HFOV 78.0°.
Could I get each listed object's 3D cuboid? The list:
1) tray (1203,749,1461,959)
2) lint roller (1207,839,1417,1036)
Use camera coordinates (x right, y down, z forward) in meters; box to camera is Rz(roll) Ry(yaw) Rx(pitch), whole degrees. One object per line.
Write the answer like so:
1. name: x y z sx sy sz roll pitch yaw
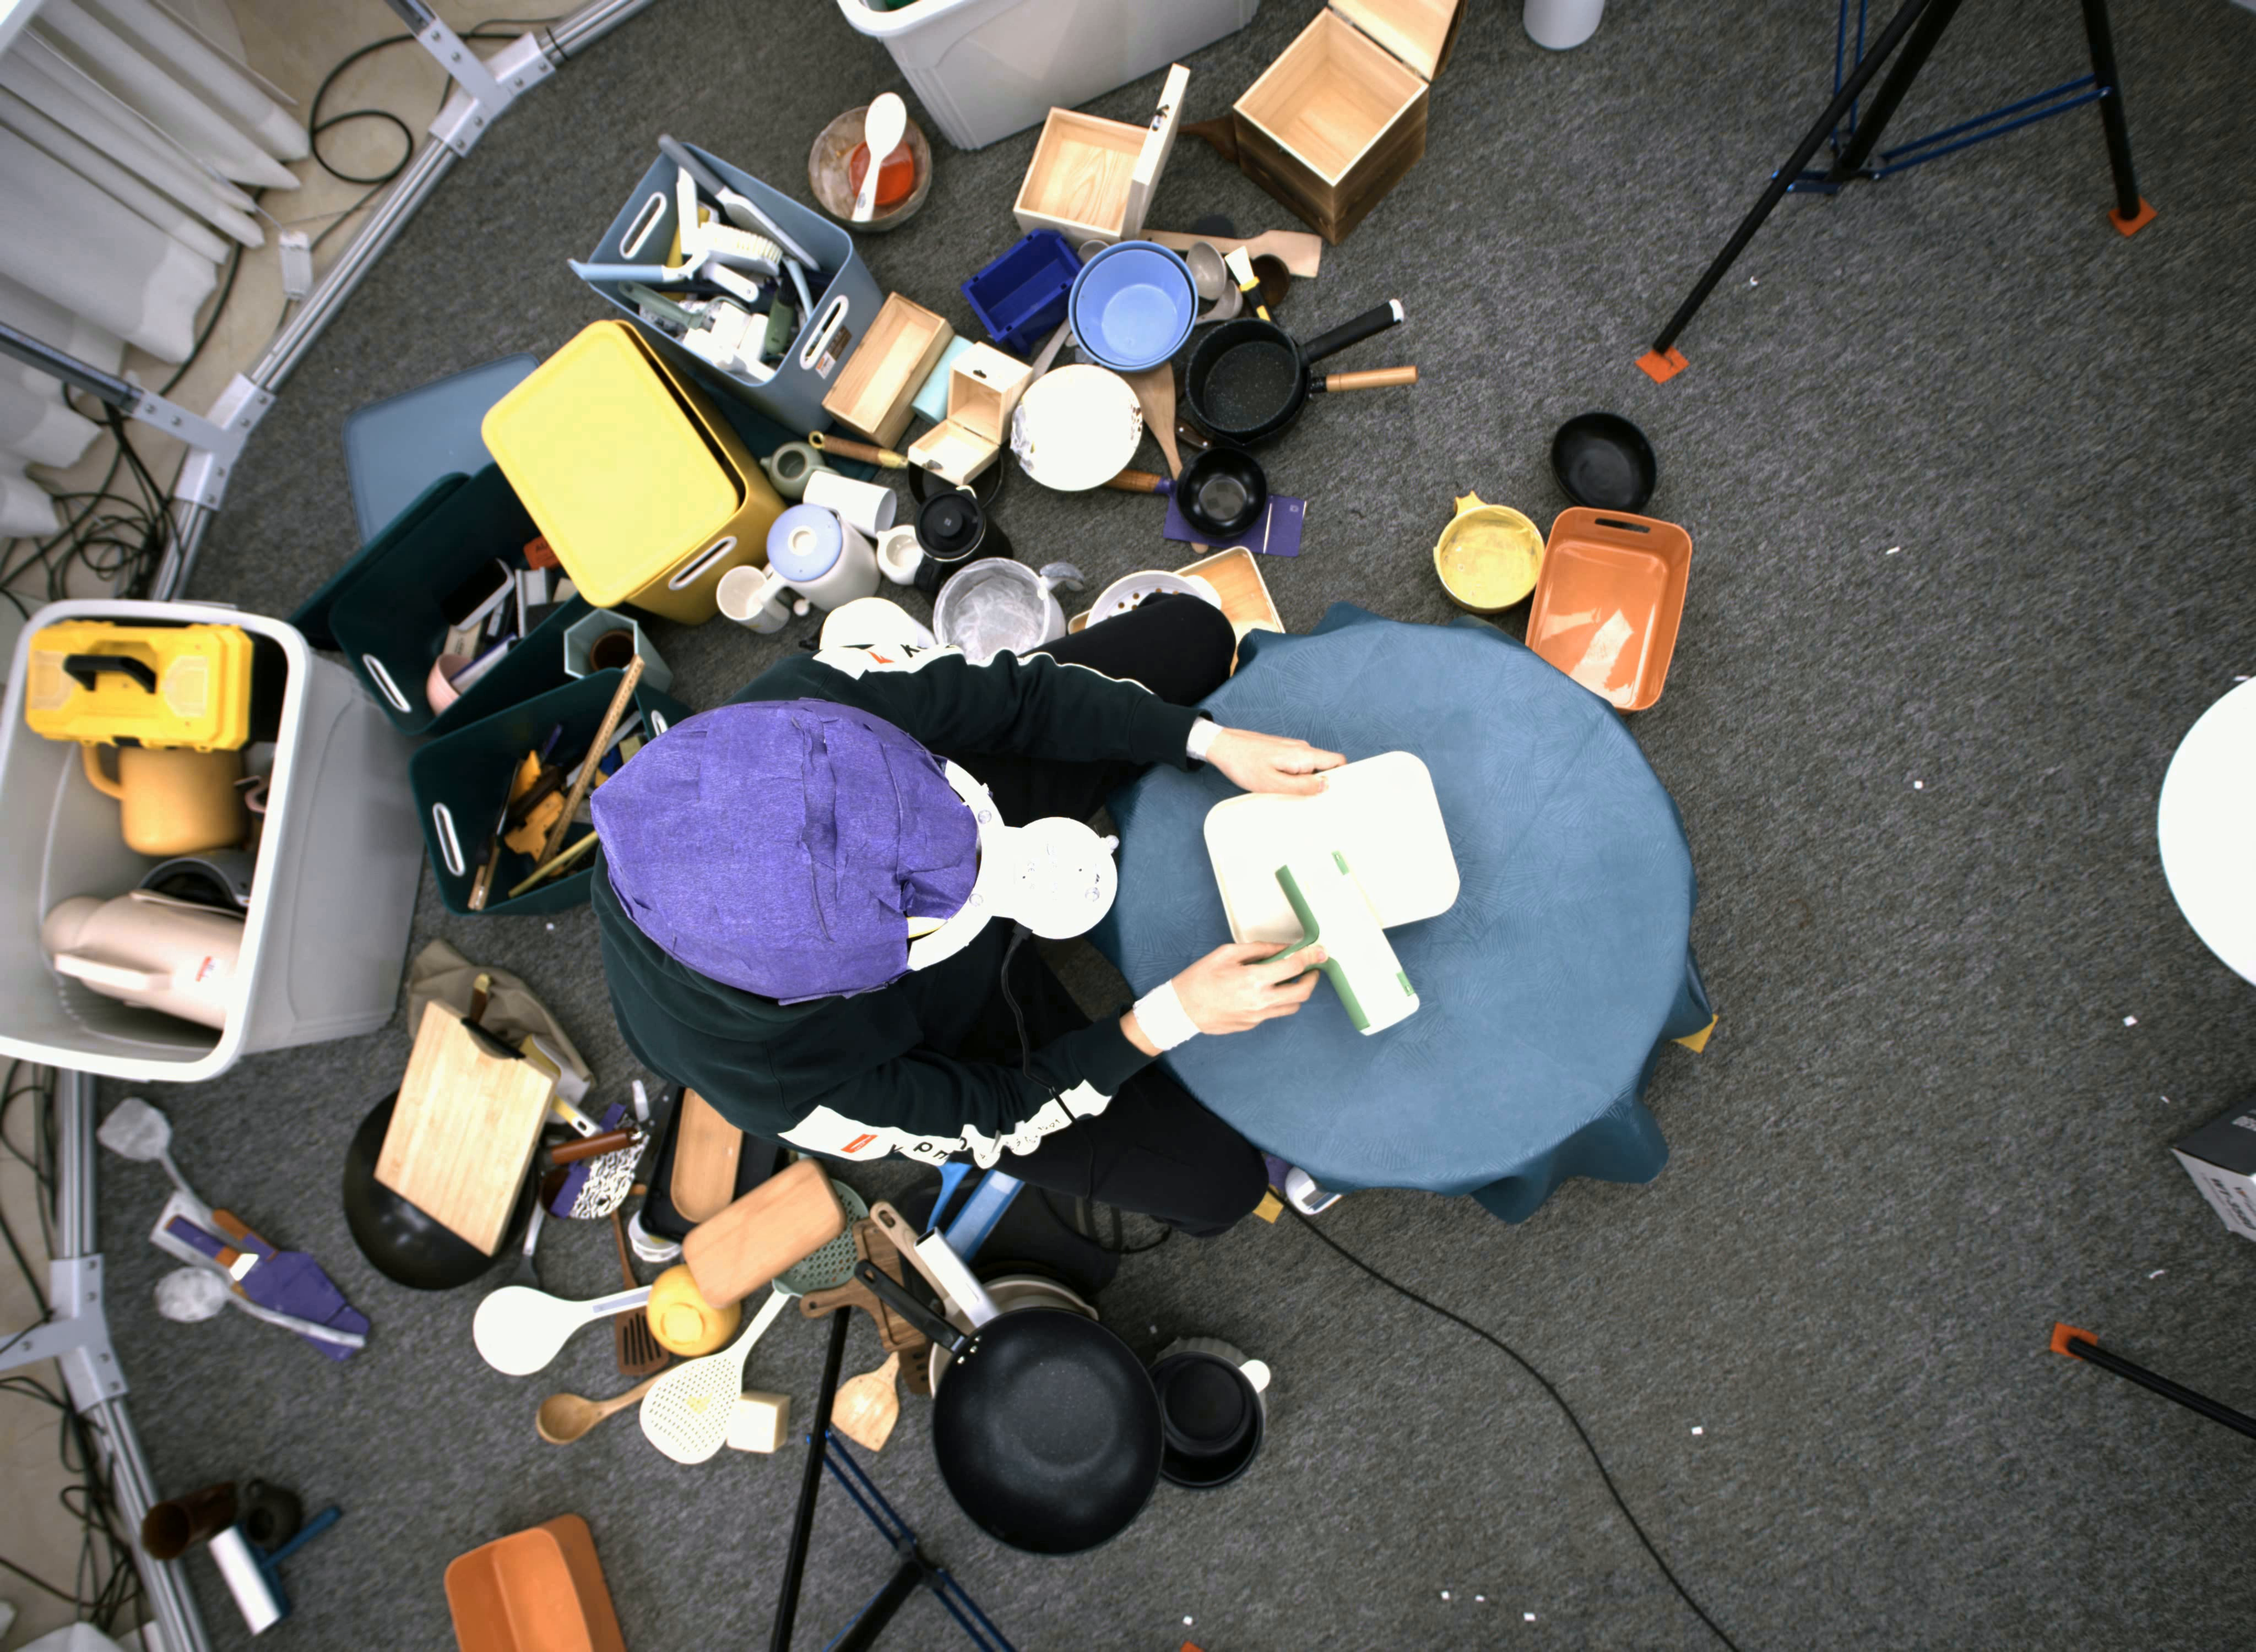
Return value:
1. tray: 0.206 0.029 1.405 0.242 0.017 0.171 -16 90 17
2. lint roller: 0.164 0.132 1.364 0.182 0.083 0.197 -25 83 -9
